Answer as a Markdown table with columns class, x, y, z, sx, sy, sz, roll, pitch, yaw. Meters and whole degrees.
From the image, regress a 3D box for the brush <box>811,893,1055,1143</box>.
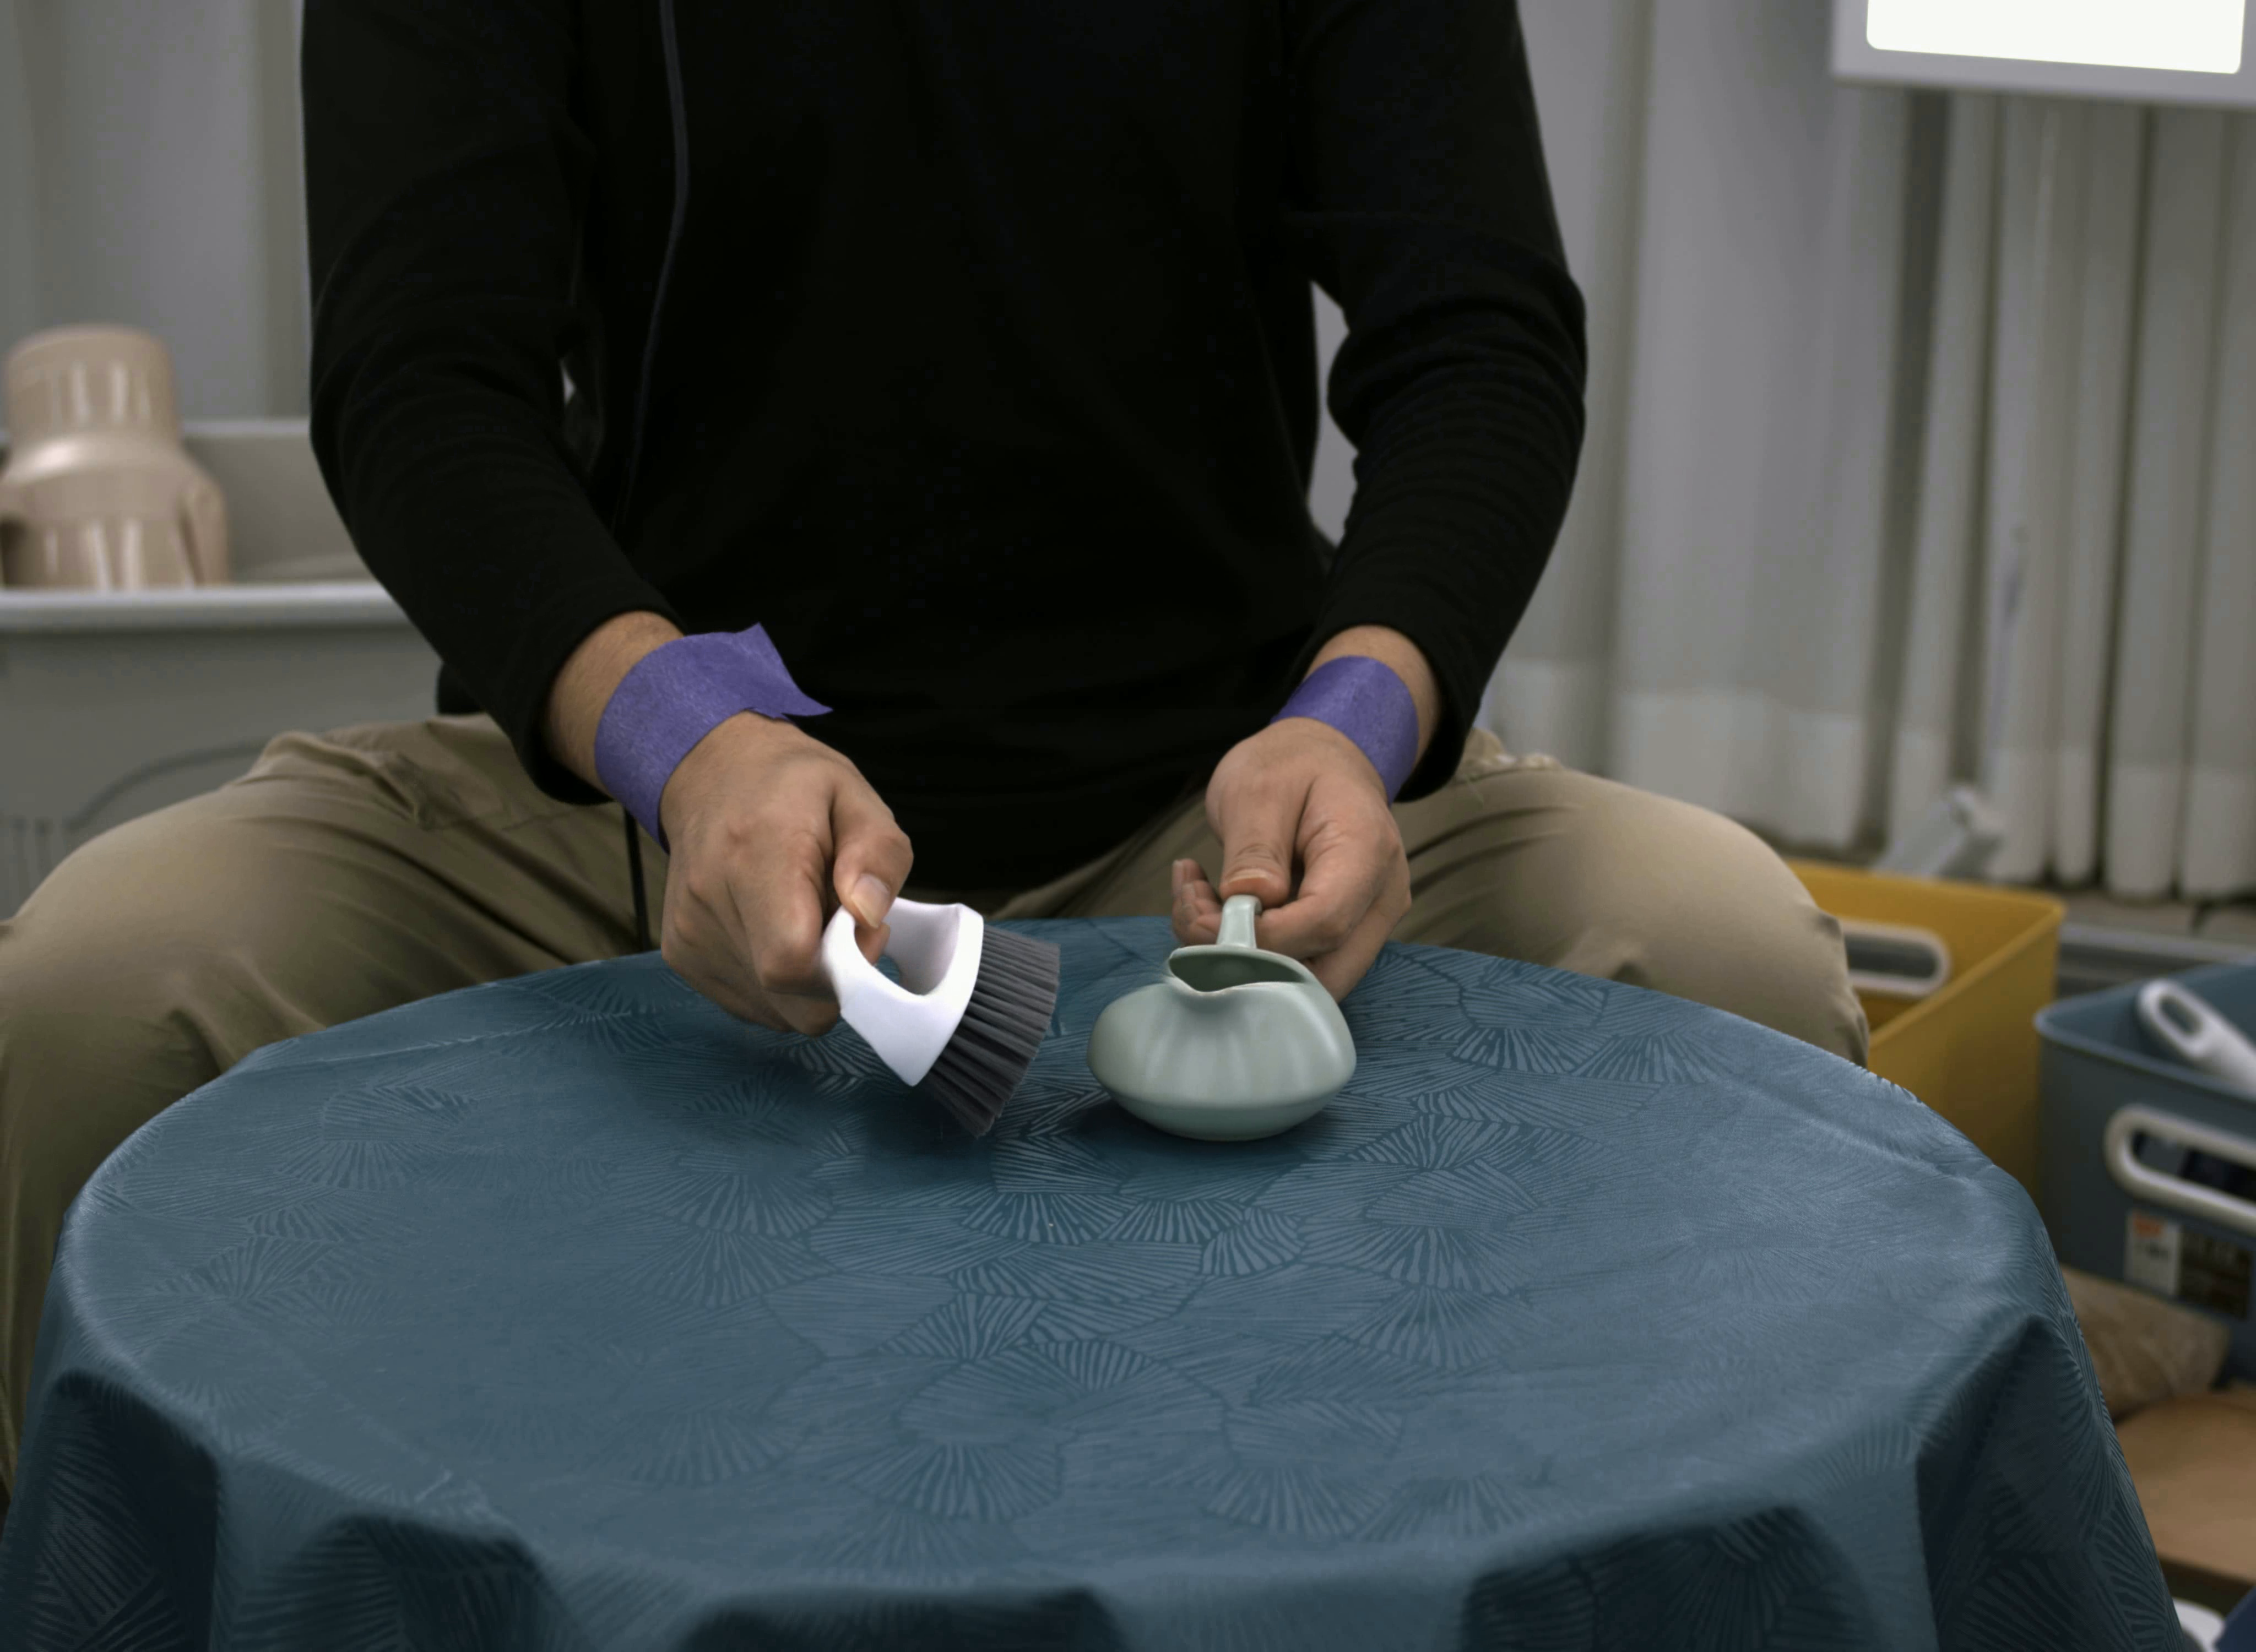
| class | x | y | z | sx | sy | sz | roll | pitch | yaw |
| --- | --- | --- | --- | --- | --- | --- | --- | --- | --- |
| brush | -0.066 | 0.052 | 1.675 | 0.073 | 0.050 | 0.098 | 30 | 19 | -9 |

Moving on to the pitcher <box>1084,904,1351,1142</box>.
| class | x | y | z | sx | sy | sz | roll | pitch | yaw |
| --- | --- | --- | --- | --- | --- | --- | --- | --- | --- |
| pitcher | 0.030 | 0.064 | 1.692 | 0.085 | 0.061 | 0.107 | 4 | 14 | 5 |
